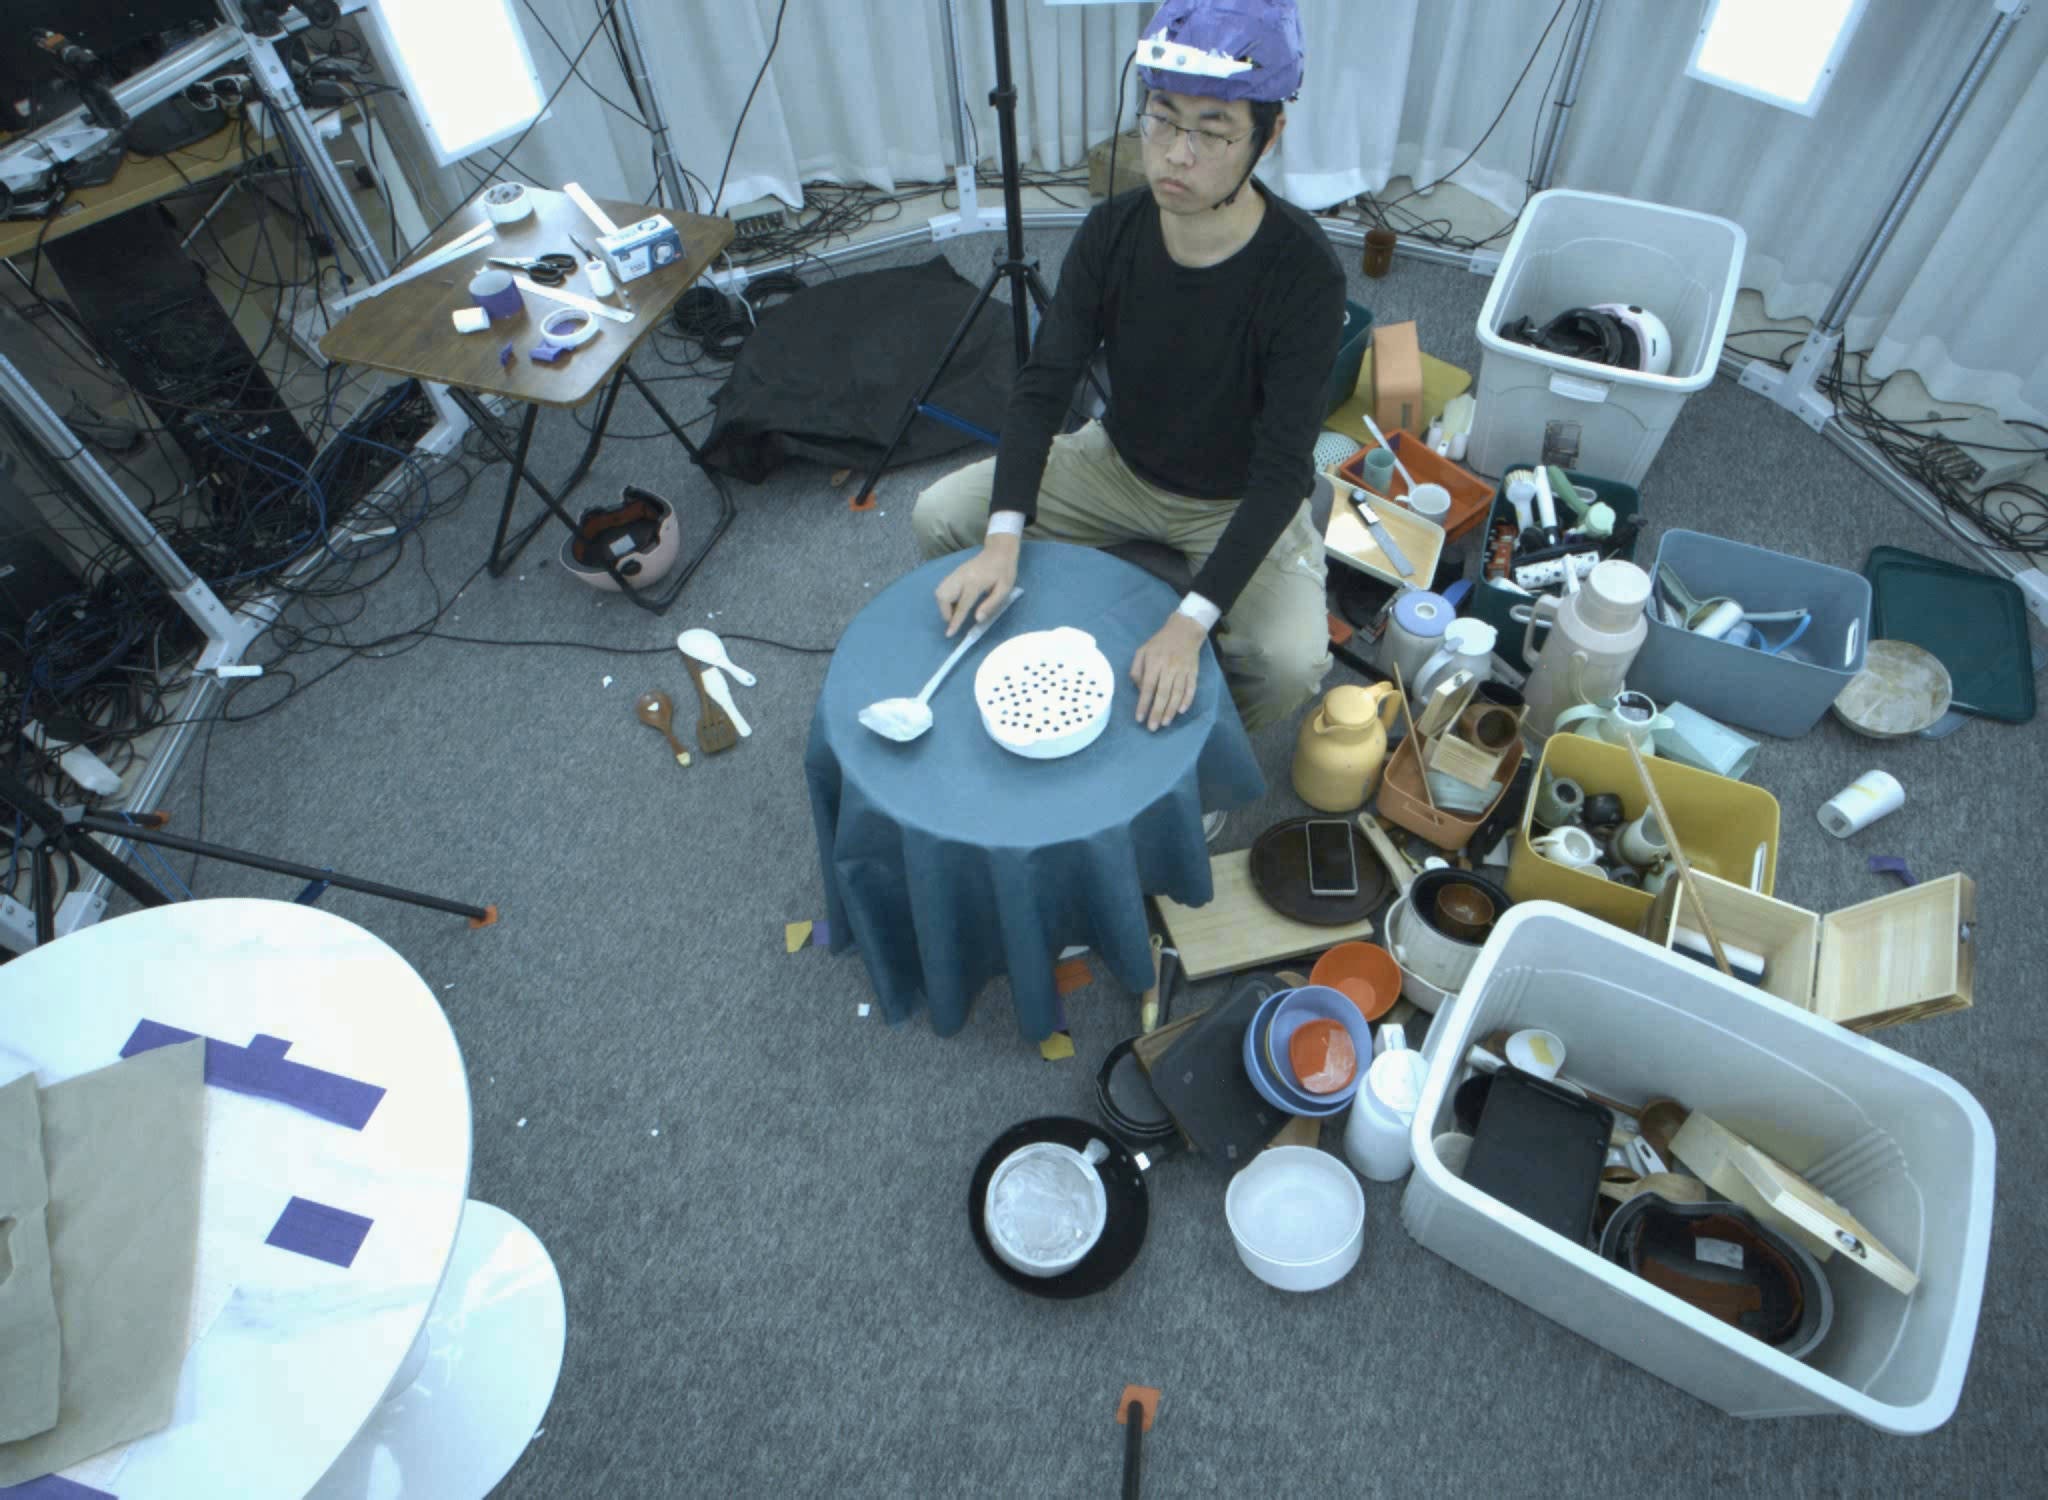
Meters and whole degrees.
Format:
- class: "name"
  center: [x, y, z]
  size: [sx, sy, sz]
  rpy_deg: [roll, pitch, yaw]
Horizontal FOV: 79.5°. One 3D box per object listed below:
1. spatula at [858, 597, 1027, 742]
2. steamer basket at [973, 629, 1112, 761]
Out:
- class: "spatula"
  center: [-0.109, -0.137, 1.865]
  size: [0.097, 0.045, 0.366]
  rpy_deg: [27, 60, 22]
- class: "steamer basket"
  center: [0.028, -0.077, 1.798]
  size: [0.199, 0.070, 0.231]
  rpy_deg: [23, 58, 16]
